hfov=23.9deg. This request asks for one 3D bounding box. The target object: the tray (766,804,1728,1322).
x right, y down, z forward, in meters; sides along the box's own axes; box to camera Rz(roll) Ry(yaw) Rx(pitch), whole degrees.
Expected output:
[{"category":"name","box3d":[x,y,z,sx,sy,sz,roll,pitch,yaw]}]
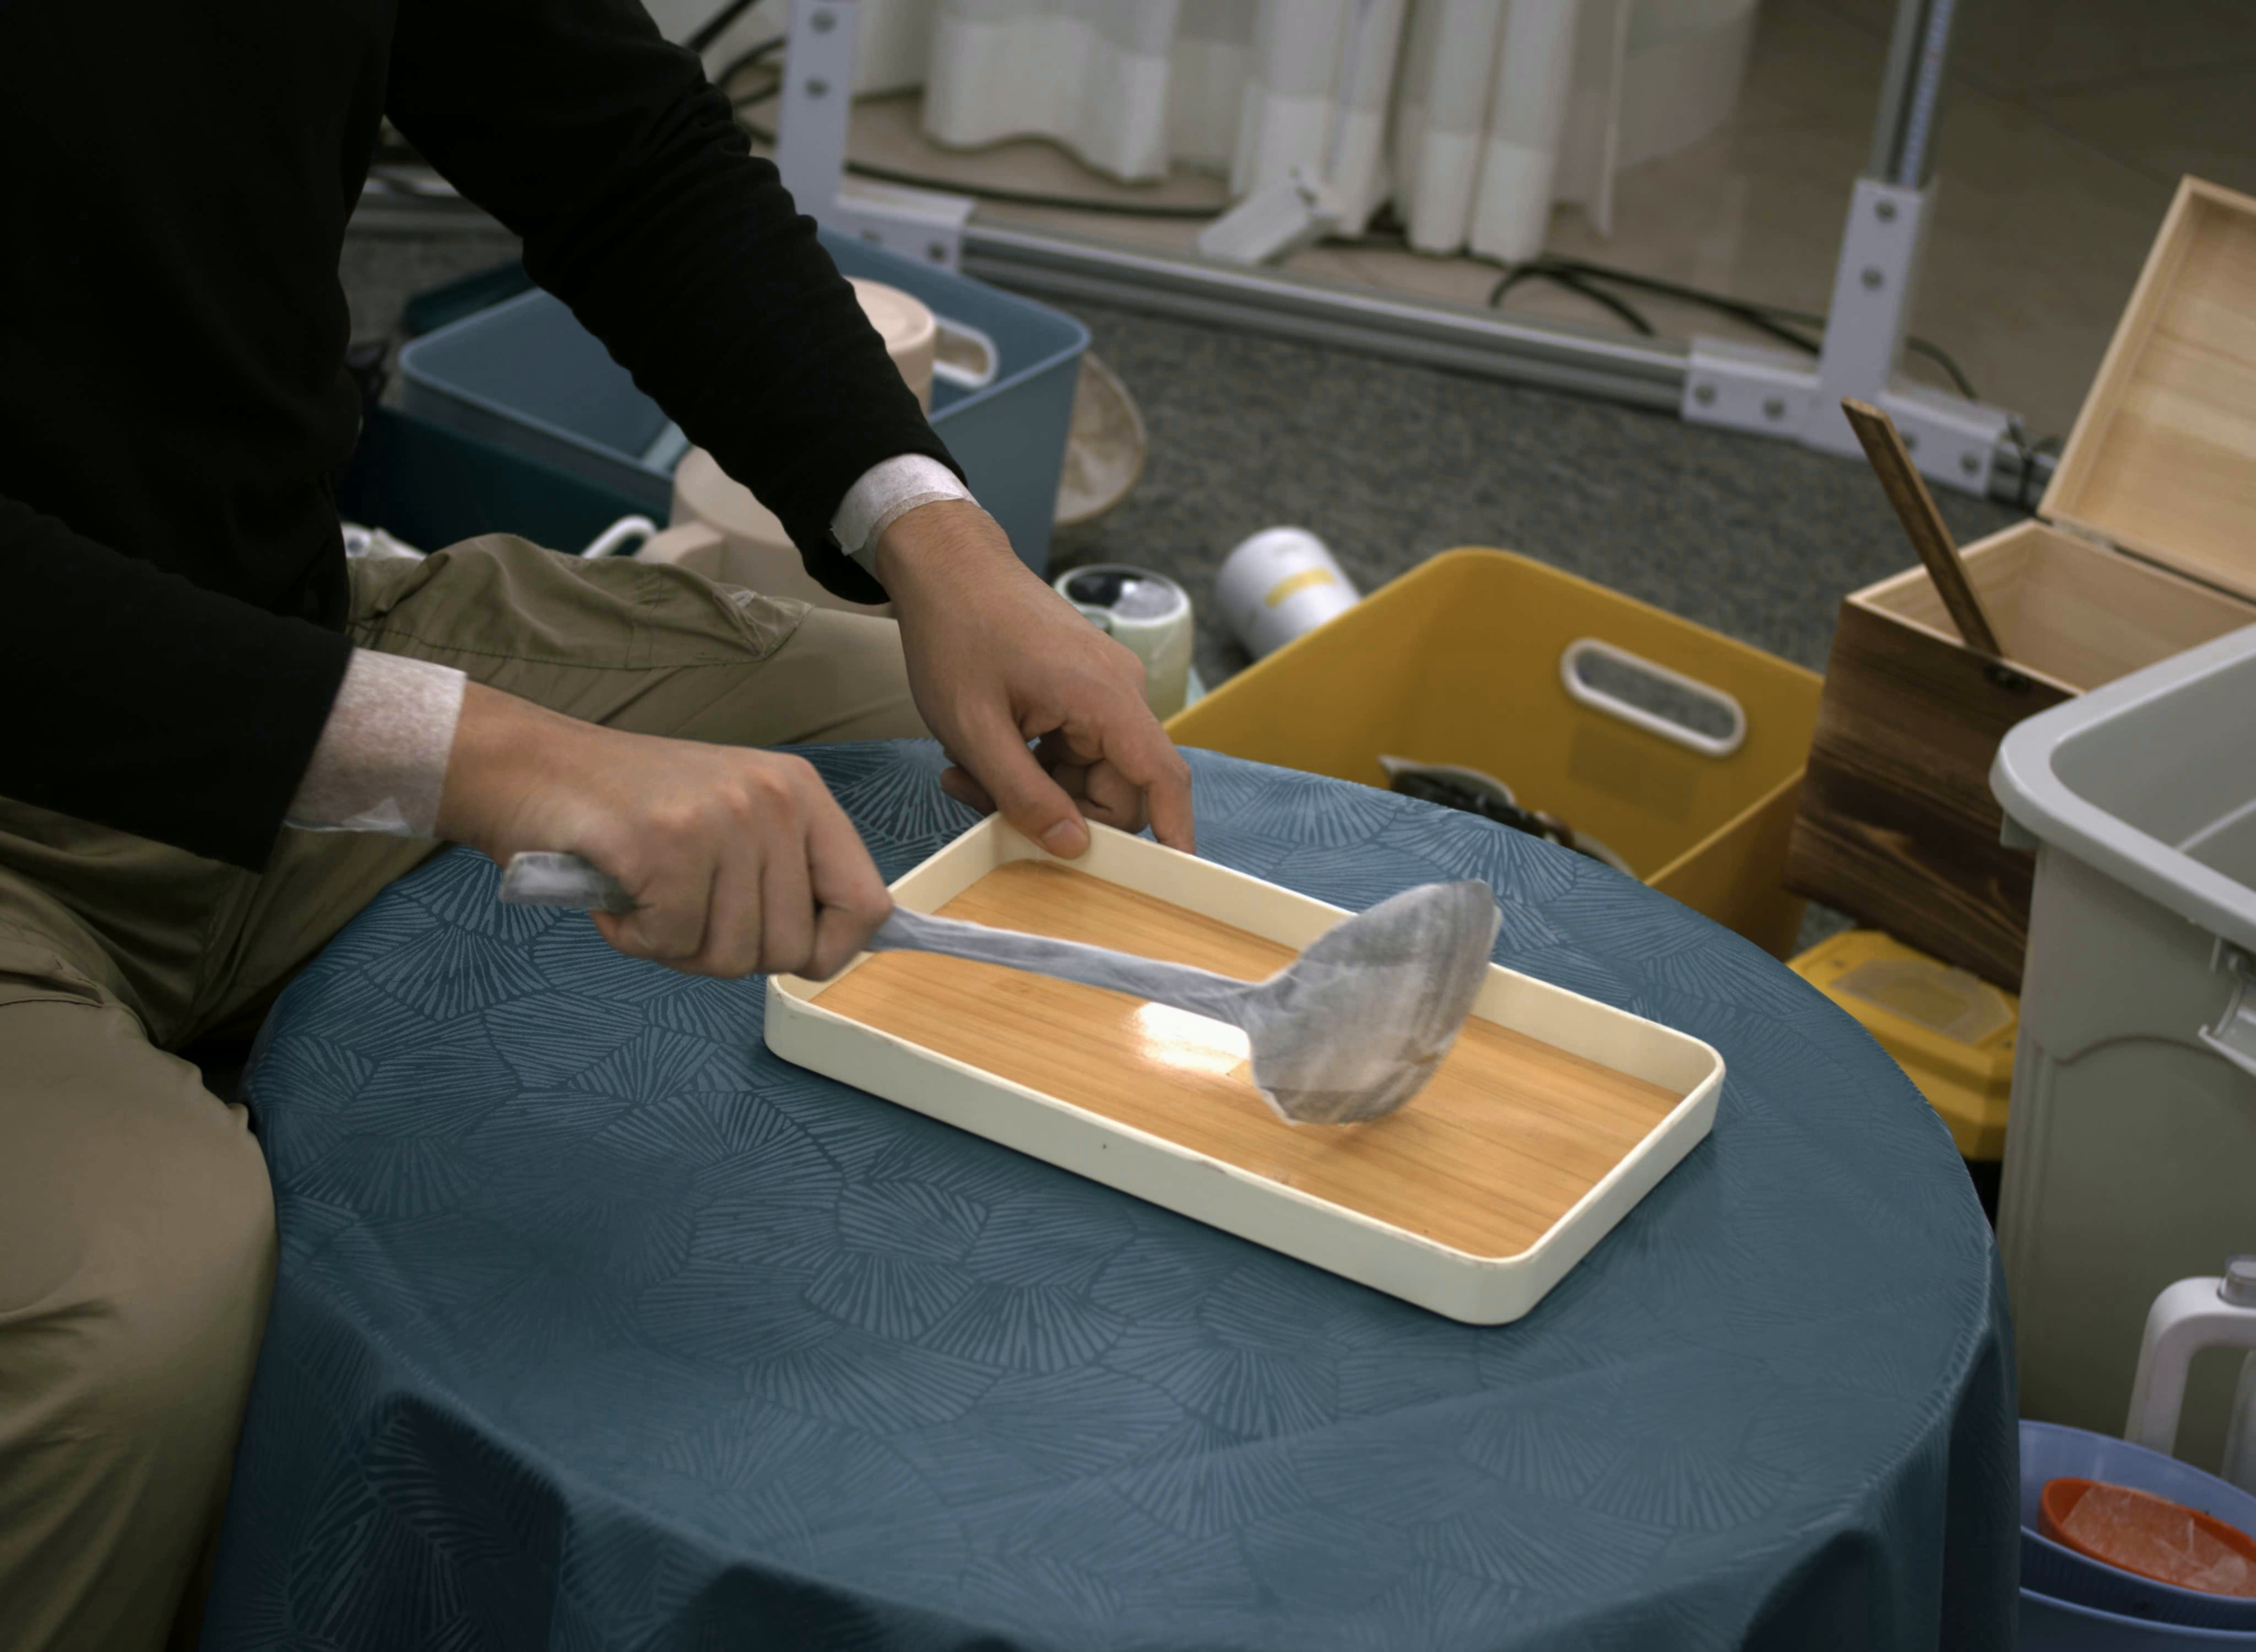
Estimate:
[{"category":"tray","box3d":[0.042,0.079,1.869,0.301,0.027,0.191,20,30,24]}]

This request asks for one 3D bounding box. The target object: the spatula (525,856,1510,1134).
[{"category":"spatula","box3d":[-0.031,0.041,1.753,0.362,0.098,0.045,12,24,-25]}]
